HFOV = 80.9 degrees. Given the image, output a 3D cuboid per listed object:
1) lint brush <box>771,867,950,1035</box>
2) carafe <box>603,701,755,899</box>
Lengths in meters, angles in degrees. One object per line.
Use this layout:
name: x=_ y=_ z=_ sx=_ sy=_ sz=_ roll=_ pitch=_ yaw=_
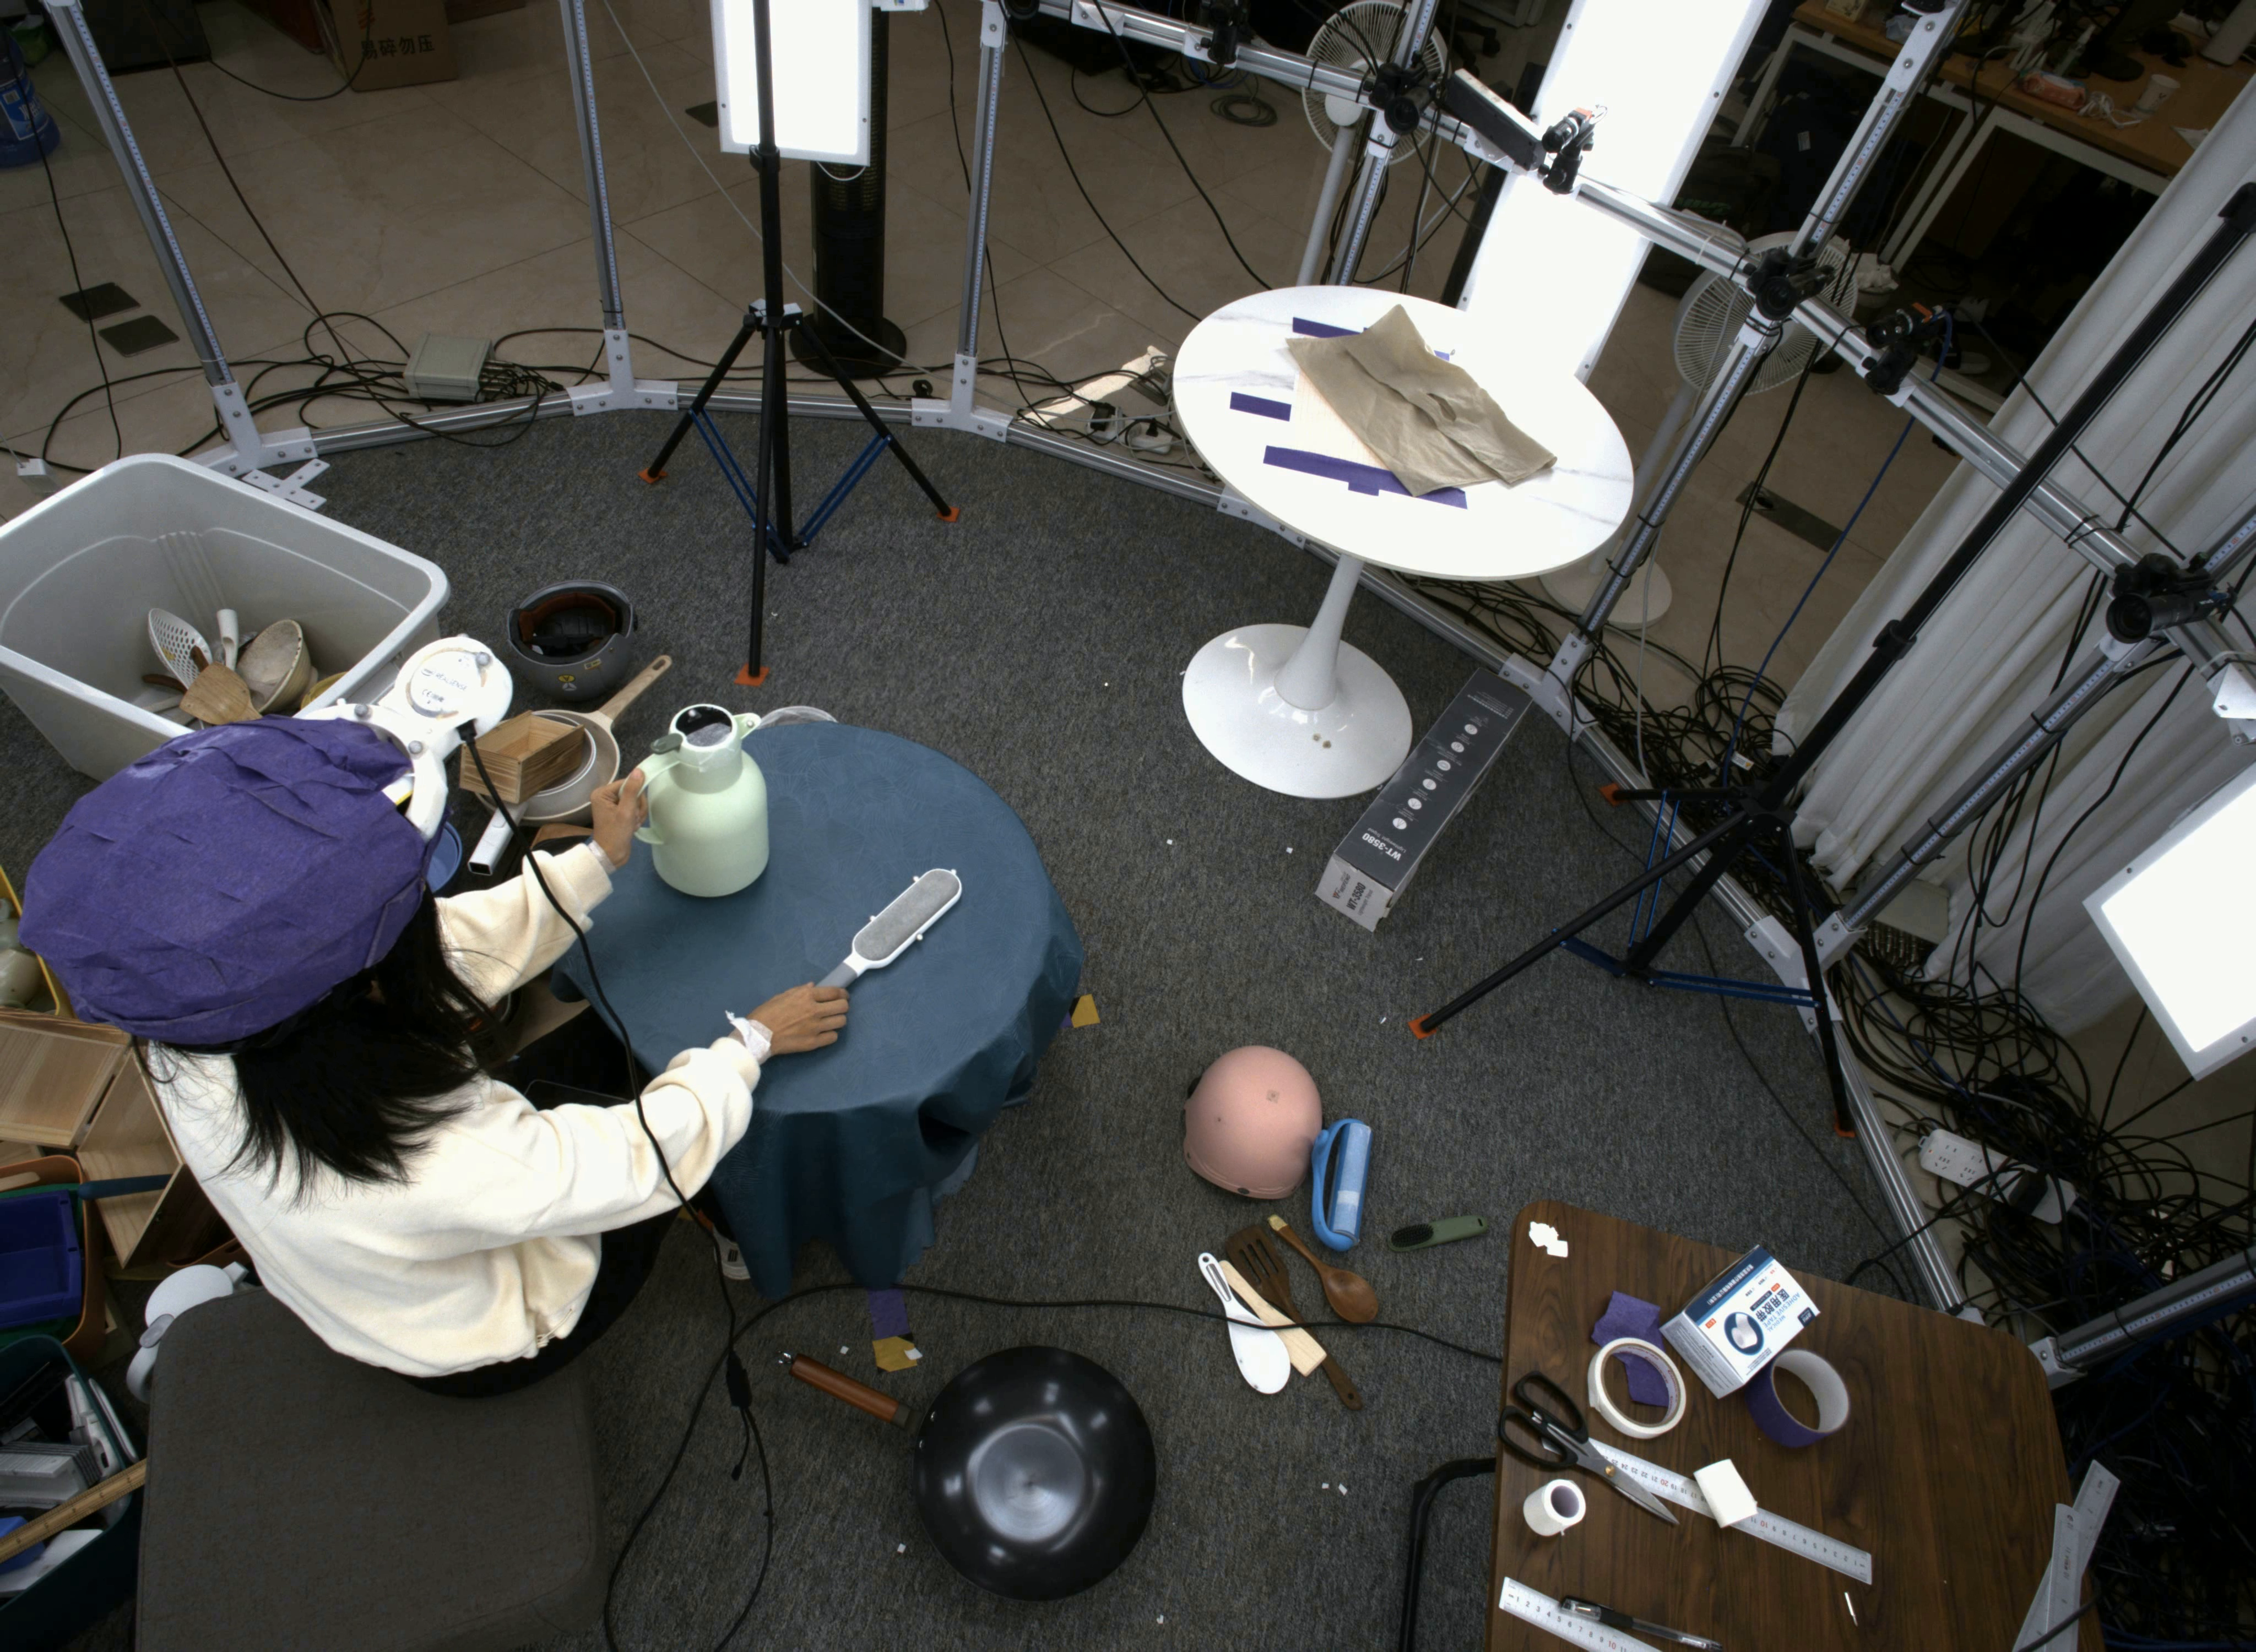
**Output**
lint brush: x=-0.330 y=0.149 z=1.612 sx=0.059 sy=0.021 sz=0.308 roll=35 pitch=52 yaw=11
carafe: x=-0.538 y=-0.031 z=1.548 sx=0.187 sy=0.262 sz=0.141 roll=-33 pitch=67 yaw=-30
